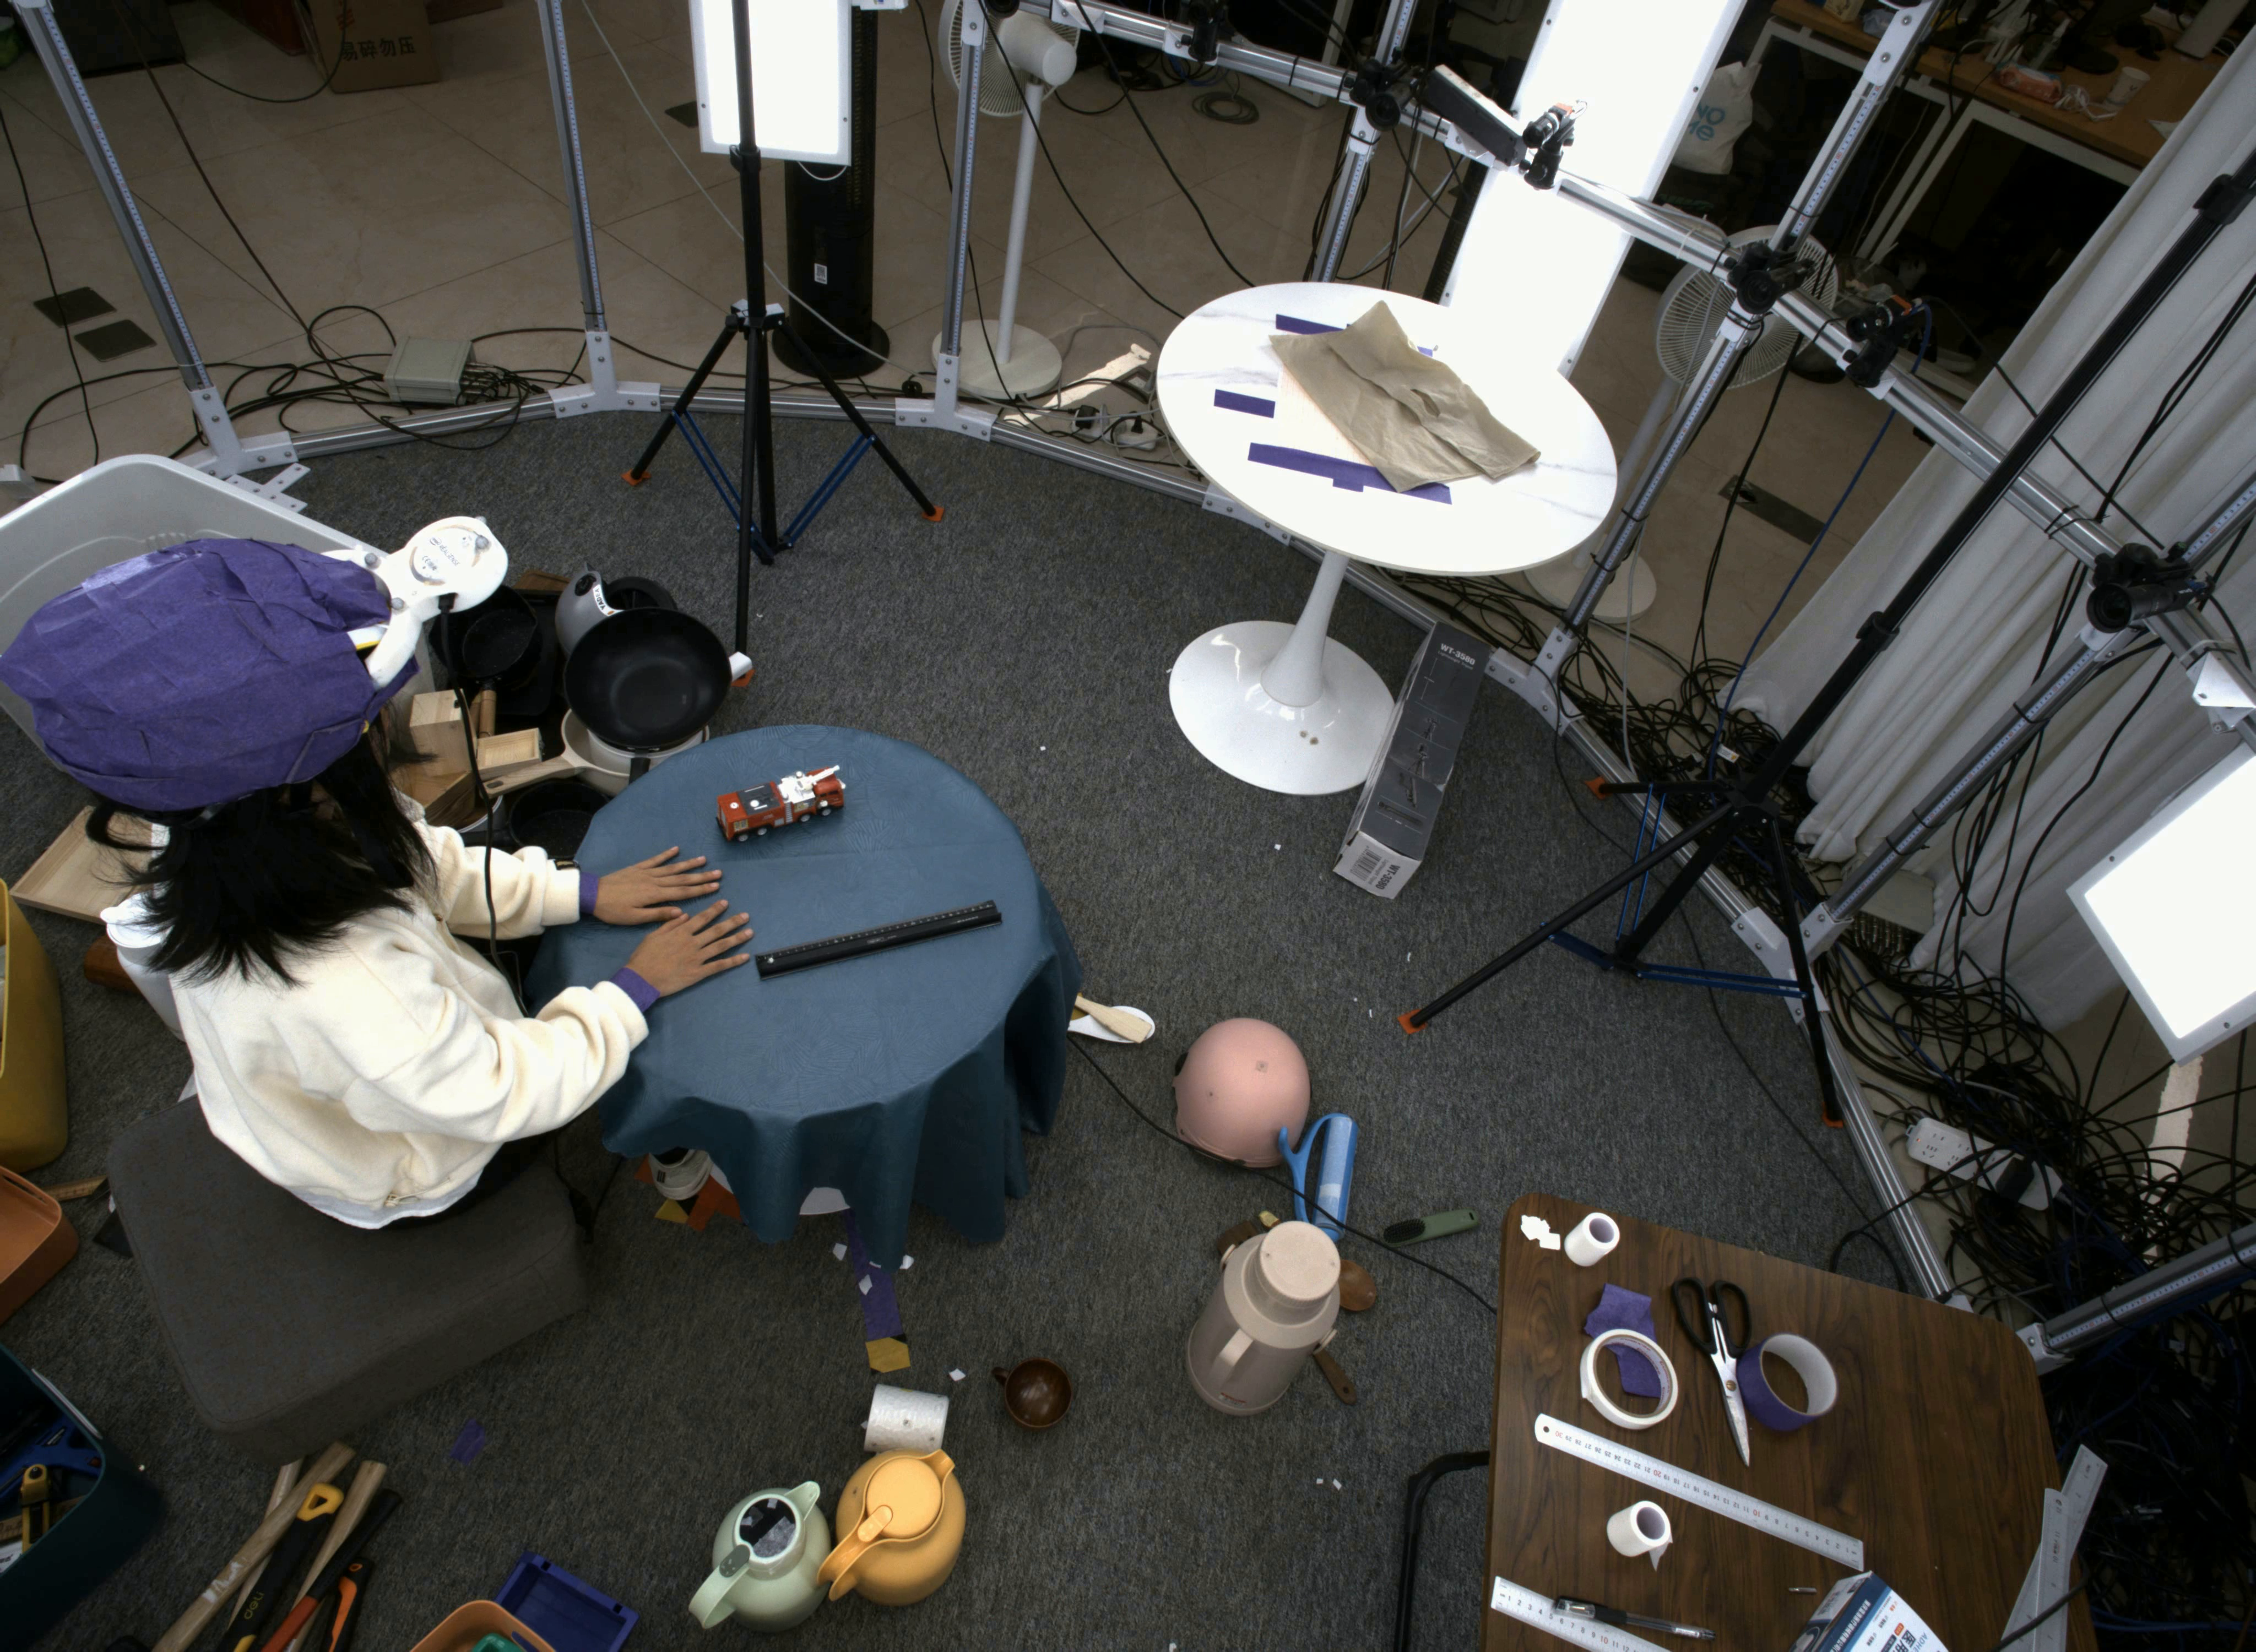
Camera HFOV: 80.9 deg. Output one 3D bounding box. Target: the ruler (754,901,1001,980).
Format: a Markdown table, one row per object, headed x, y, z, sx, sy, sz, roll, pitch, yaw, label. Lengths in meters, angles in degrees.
| x | y | z | sx | sy | sz | roll | pitch | yaw | label |
| --- | --- | --- | --- | --- | --- | --- | --- | --- | --- |
| -0.311 | 0.136 | 1.637 | 0.314 | 0.017 | 0.038 | -12 | 54 | -22 | ruler |

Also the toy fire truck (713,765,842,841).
| x | y | z | sx | sy | sz | roll | pitch | yaw | label |
| --- | --- | --- | --- | --- | --- | --- | --- | --- | --- |
| -0.457 | -0.033 | 1.697 | 0.169 | 0.072 | 0.052 | -20 | 60 | -25 | toy fire truck |
